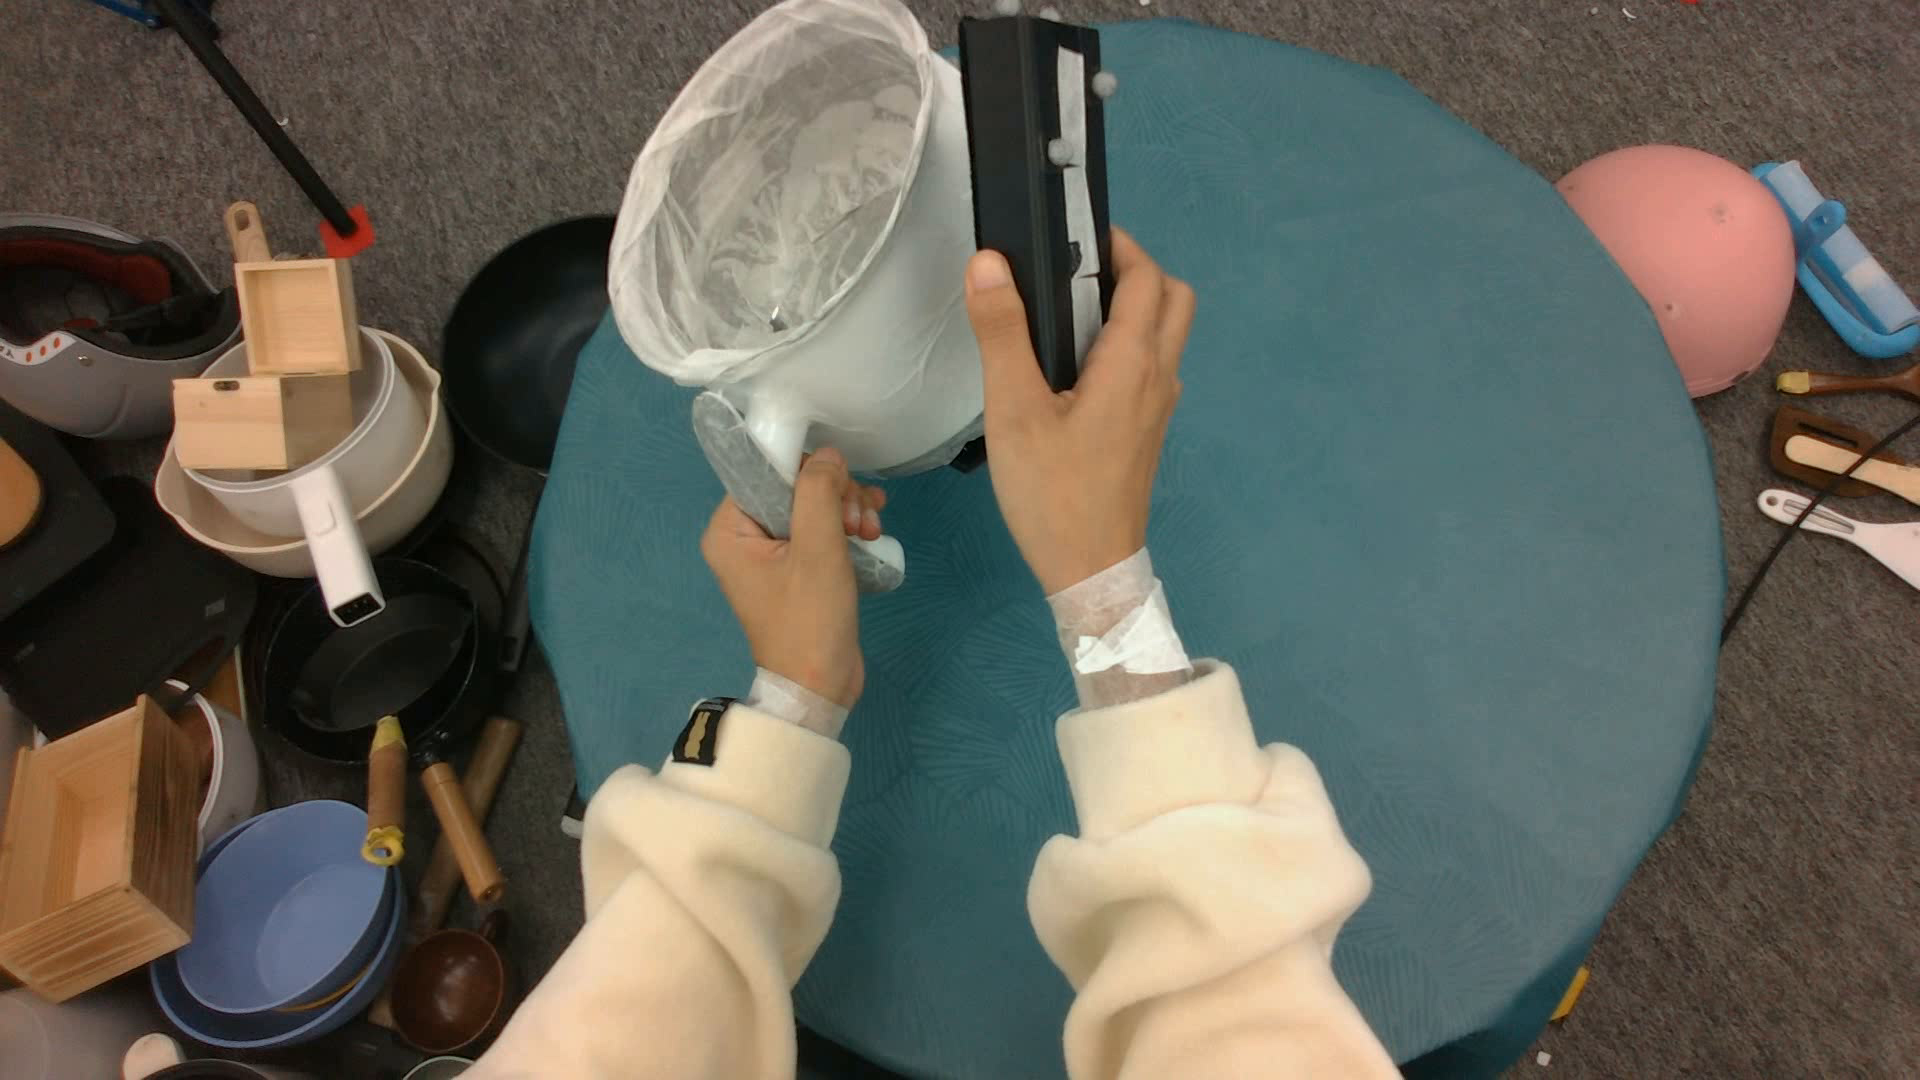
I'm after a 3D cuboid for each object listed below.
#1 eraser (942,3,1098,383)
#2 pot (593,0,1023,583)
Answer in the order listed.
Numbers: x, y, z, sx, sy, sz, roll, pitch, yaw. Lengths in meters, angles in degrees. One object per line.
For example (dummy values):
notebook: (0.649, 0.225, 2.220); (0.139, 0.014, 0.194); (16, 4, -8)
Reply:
eraser: (0.022, -0.119, 0.480); (0.030, 0.054, 0.125); (3, 102, 34)
pot: (-0.054, -0.105, 0.594); (0.178, 0.136, 0.234); (-6, 67, 36)
